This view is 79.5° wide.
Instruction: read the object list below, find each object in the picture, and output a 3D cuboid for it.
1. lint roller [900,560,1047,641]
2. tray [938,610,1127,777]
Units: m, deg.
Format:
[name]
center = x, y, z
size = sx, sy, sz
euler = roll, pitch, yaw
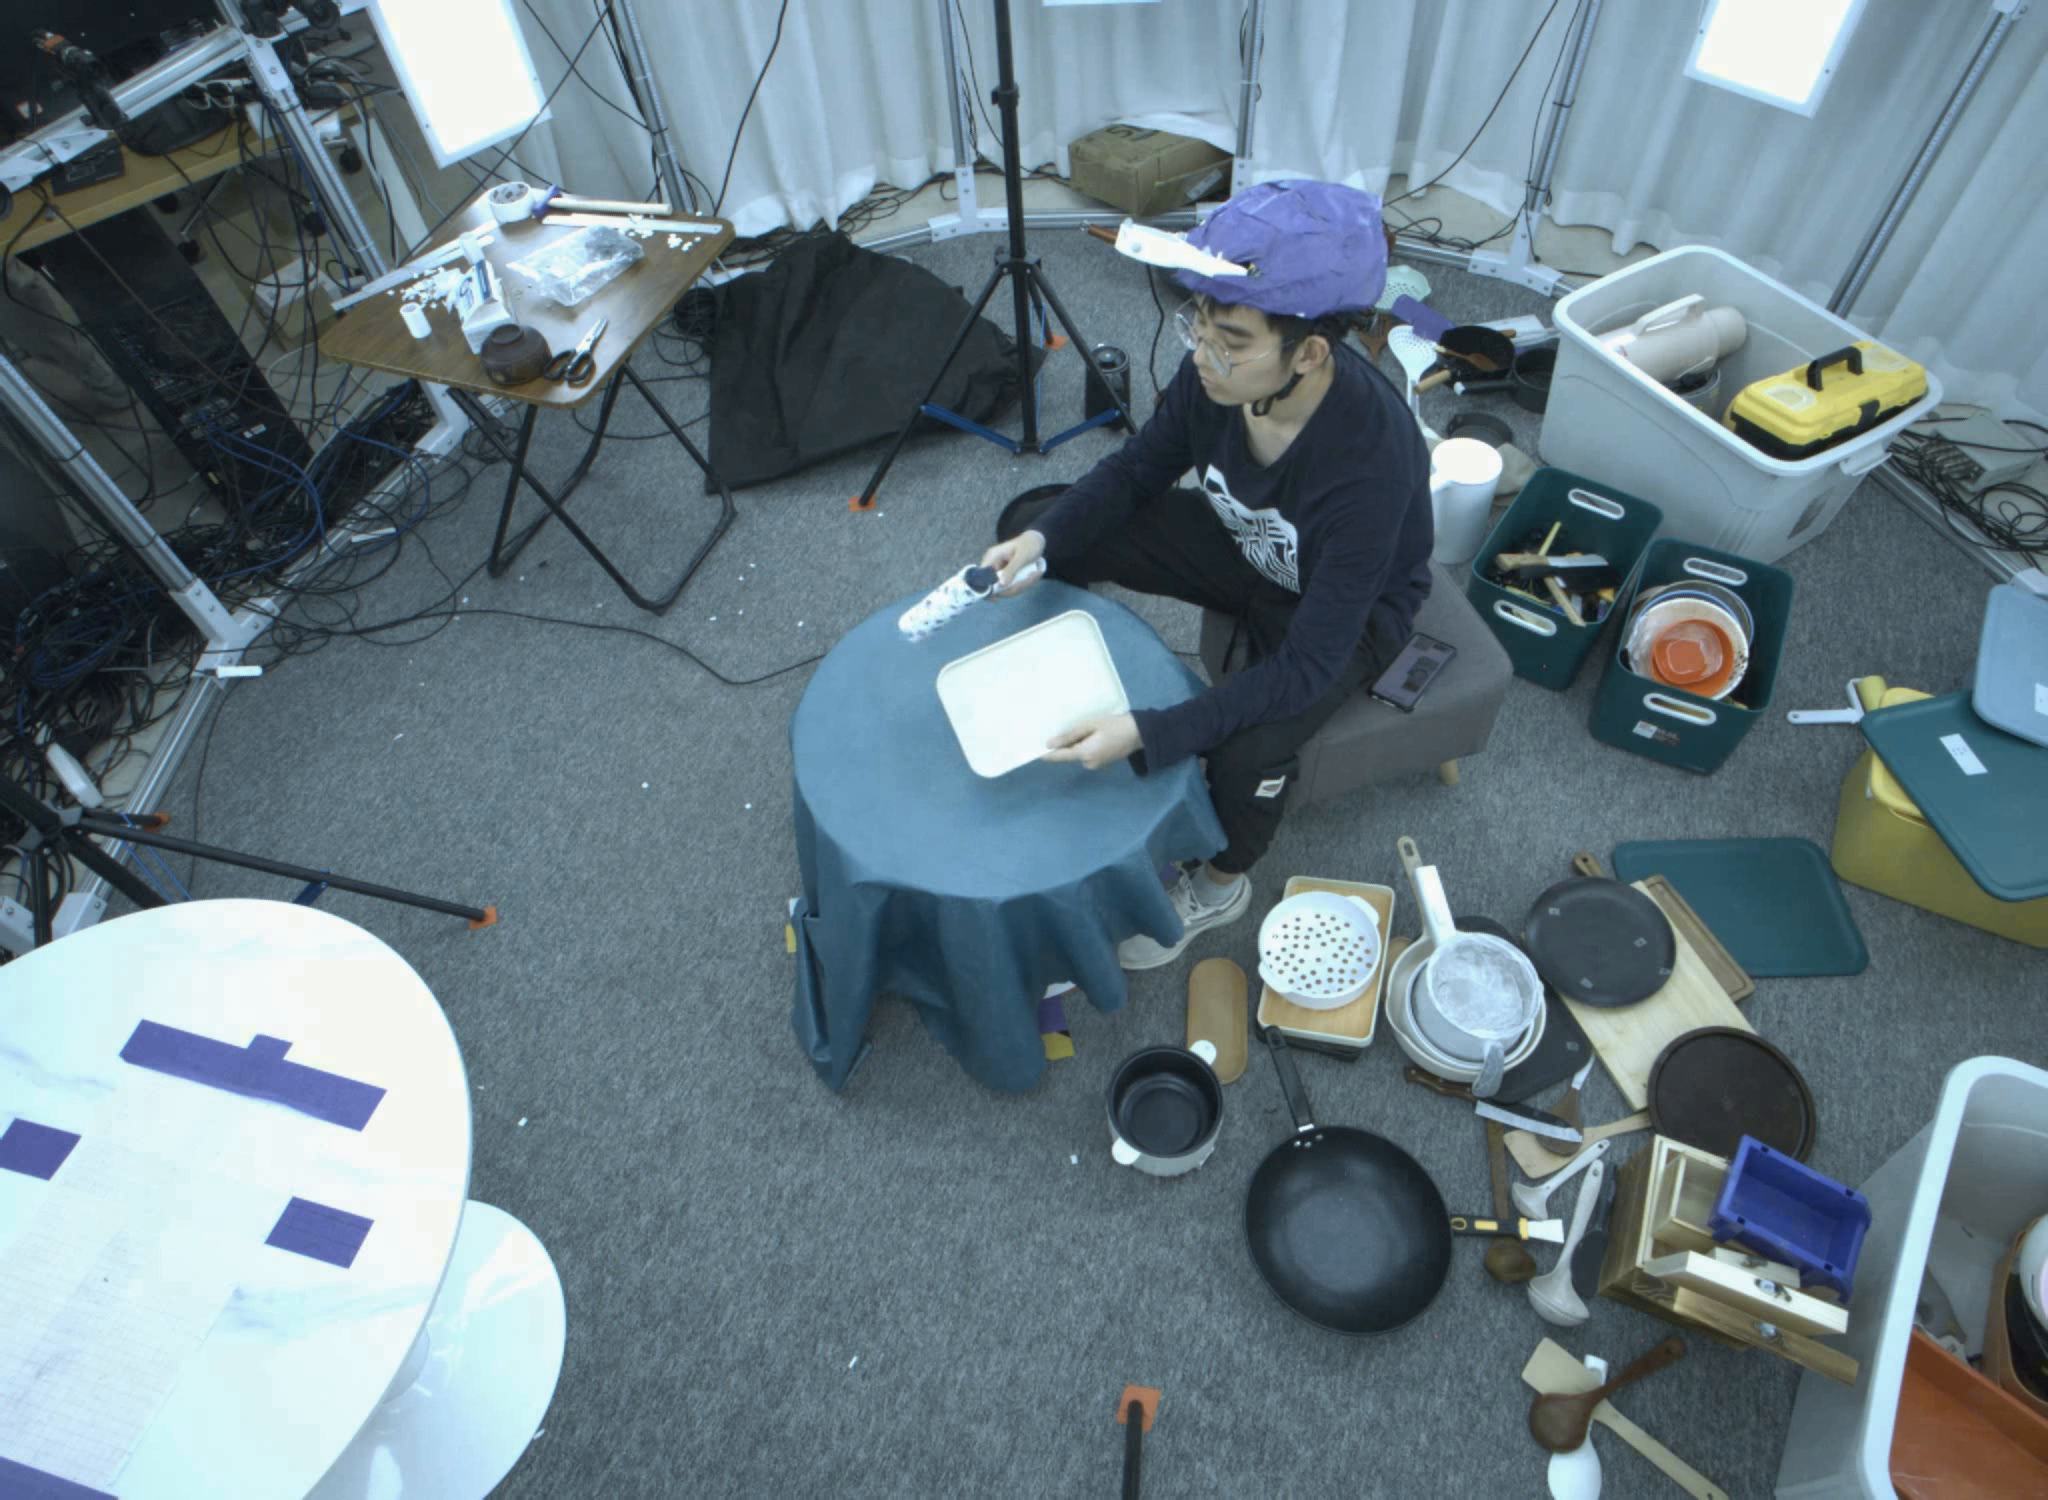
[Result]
[lint roller]
center = -0.053, -0.243, 1.790
size = 0.250, 0.174, 0.050
euler = -32, 92, -46
[tray]
center = 0.012, -0.078, 1.694
size = 0.241, 0.173, 0.017
euler = -24, 15, -8
